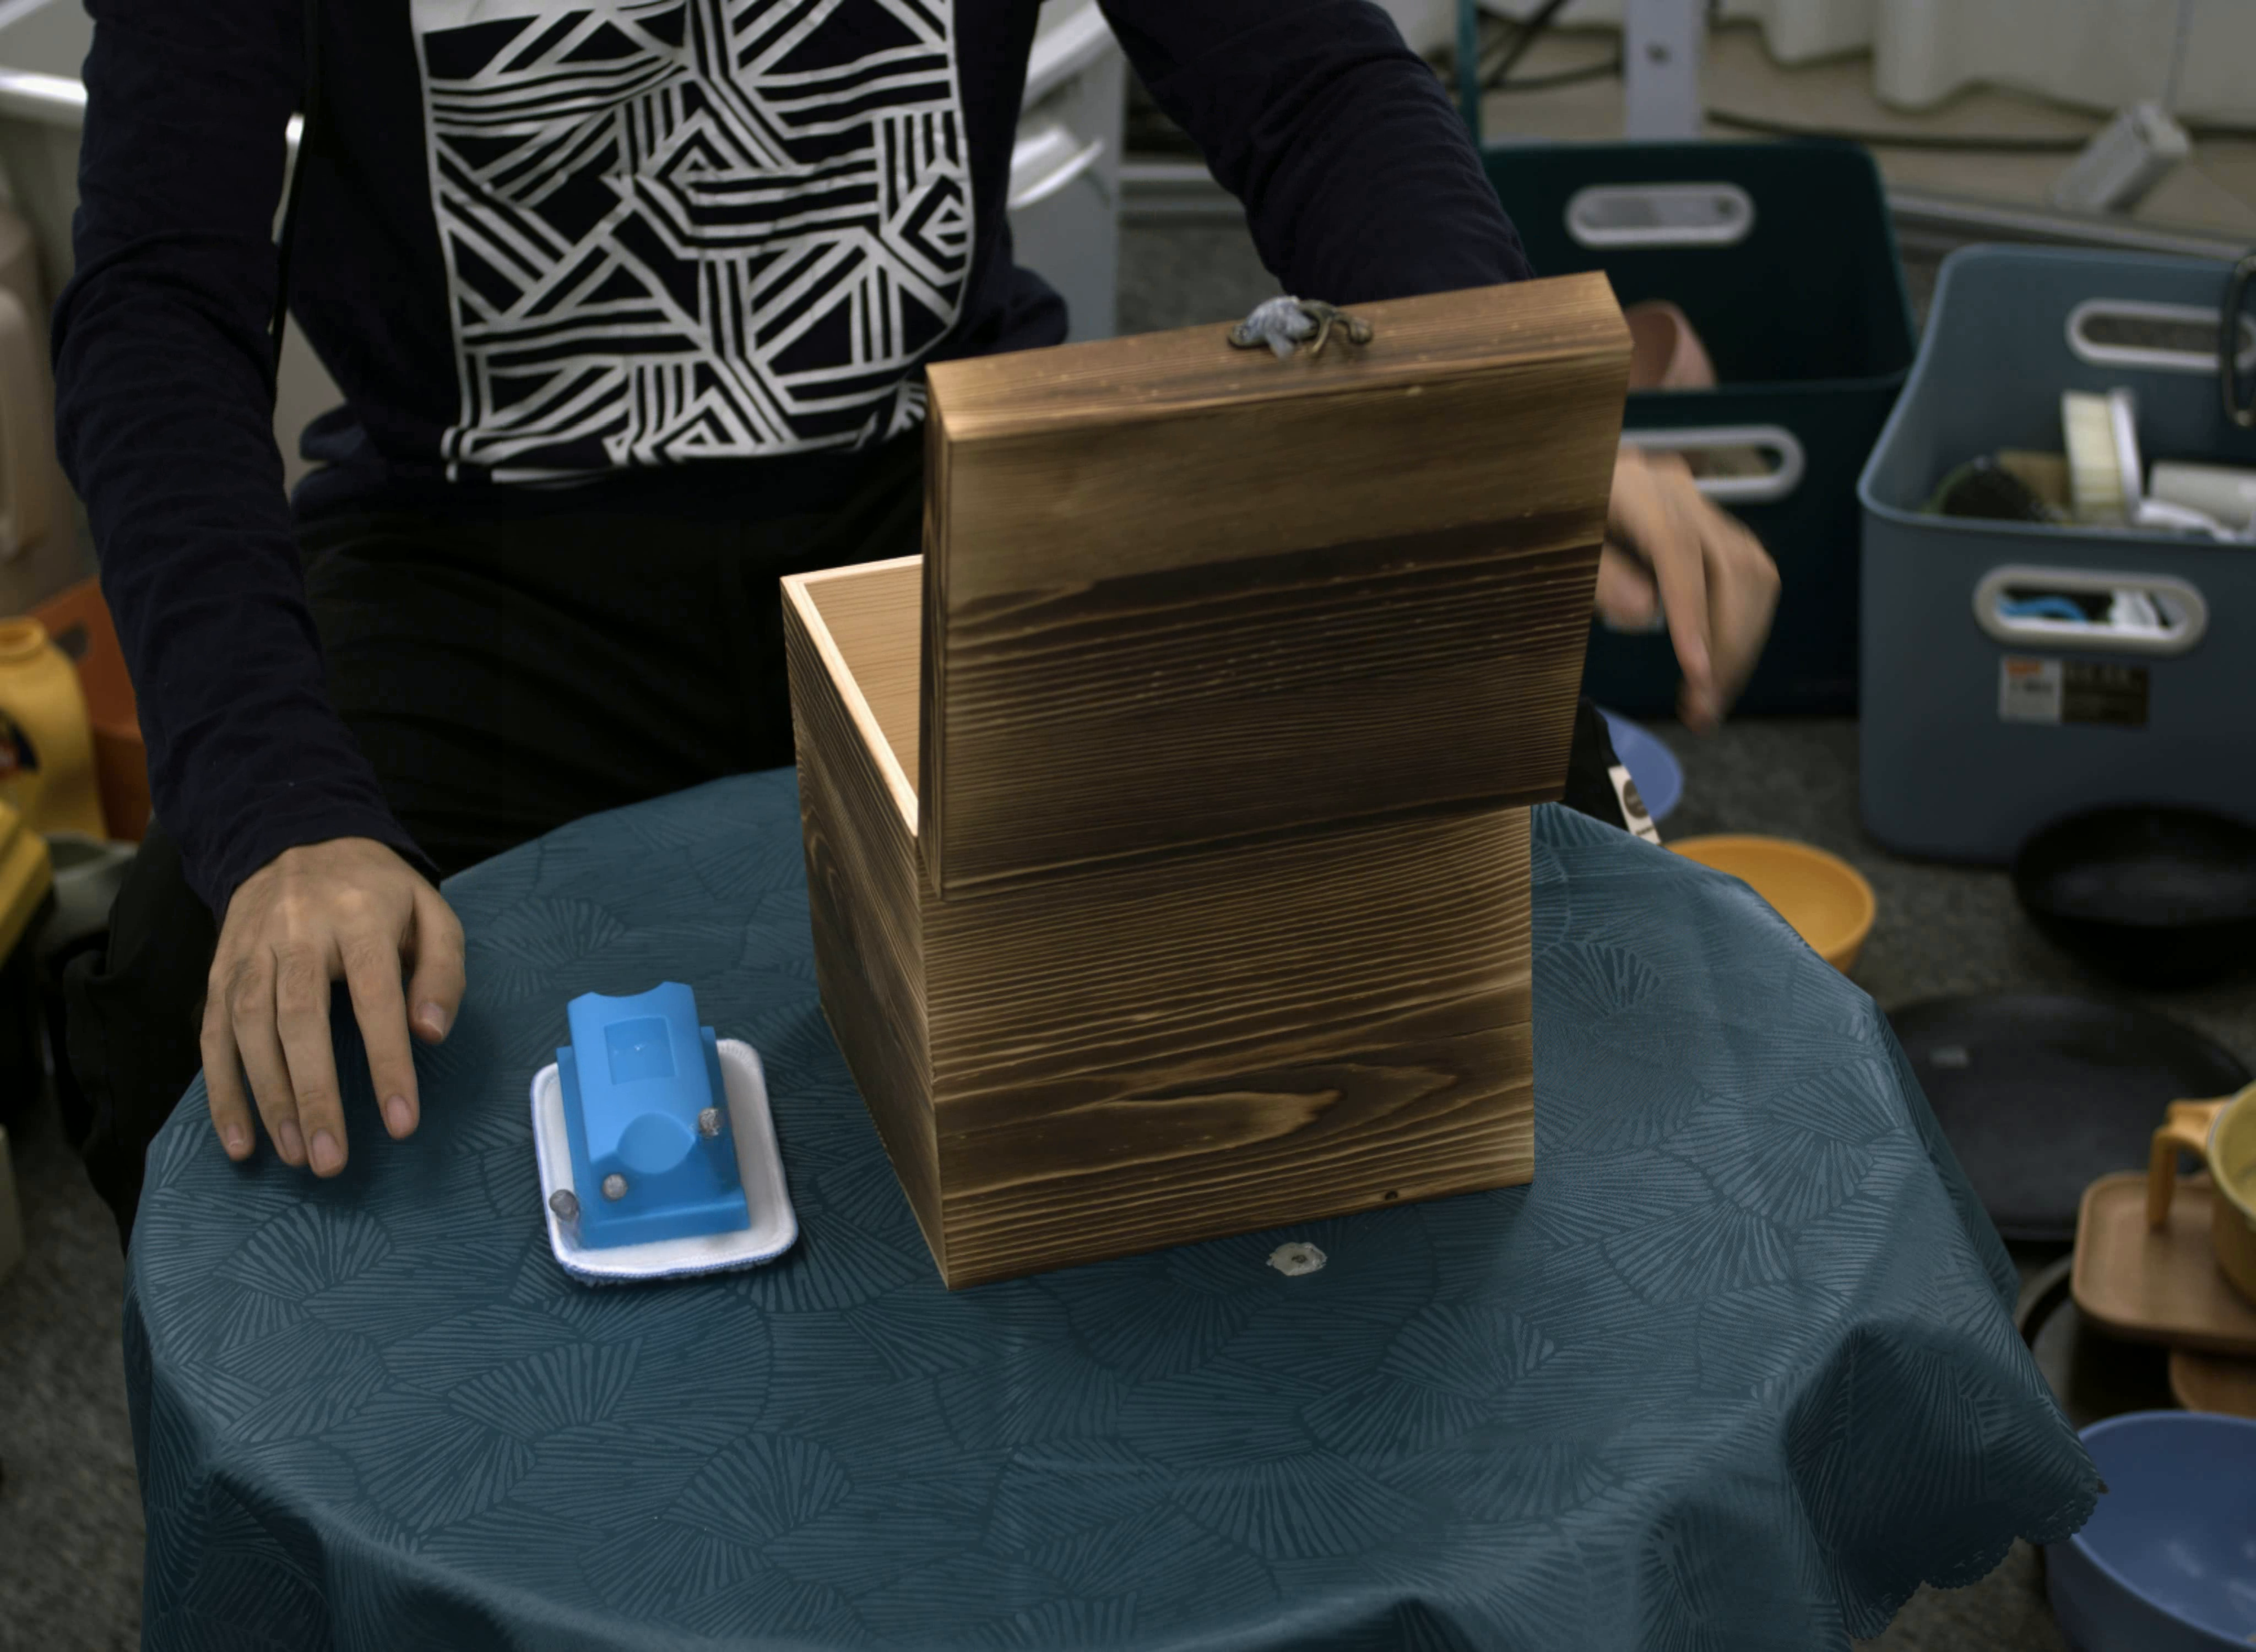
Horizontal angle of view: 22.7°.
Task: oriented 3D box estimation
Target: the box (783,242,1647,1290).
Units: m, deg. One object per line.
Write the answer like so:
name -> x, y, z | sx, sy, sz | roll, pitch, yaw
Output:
box -> 0.019, -0.047, 1.796 | 0.209, 0.371, 0.325 | -9, 27, -13

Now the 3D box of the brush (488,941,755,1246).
brush -> -0.168, 0.084, 1.865 | 0.084, 0.055, 0.146 | -4, 31, -9
